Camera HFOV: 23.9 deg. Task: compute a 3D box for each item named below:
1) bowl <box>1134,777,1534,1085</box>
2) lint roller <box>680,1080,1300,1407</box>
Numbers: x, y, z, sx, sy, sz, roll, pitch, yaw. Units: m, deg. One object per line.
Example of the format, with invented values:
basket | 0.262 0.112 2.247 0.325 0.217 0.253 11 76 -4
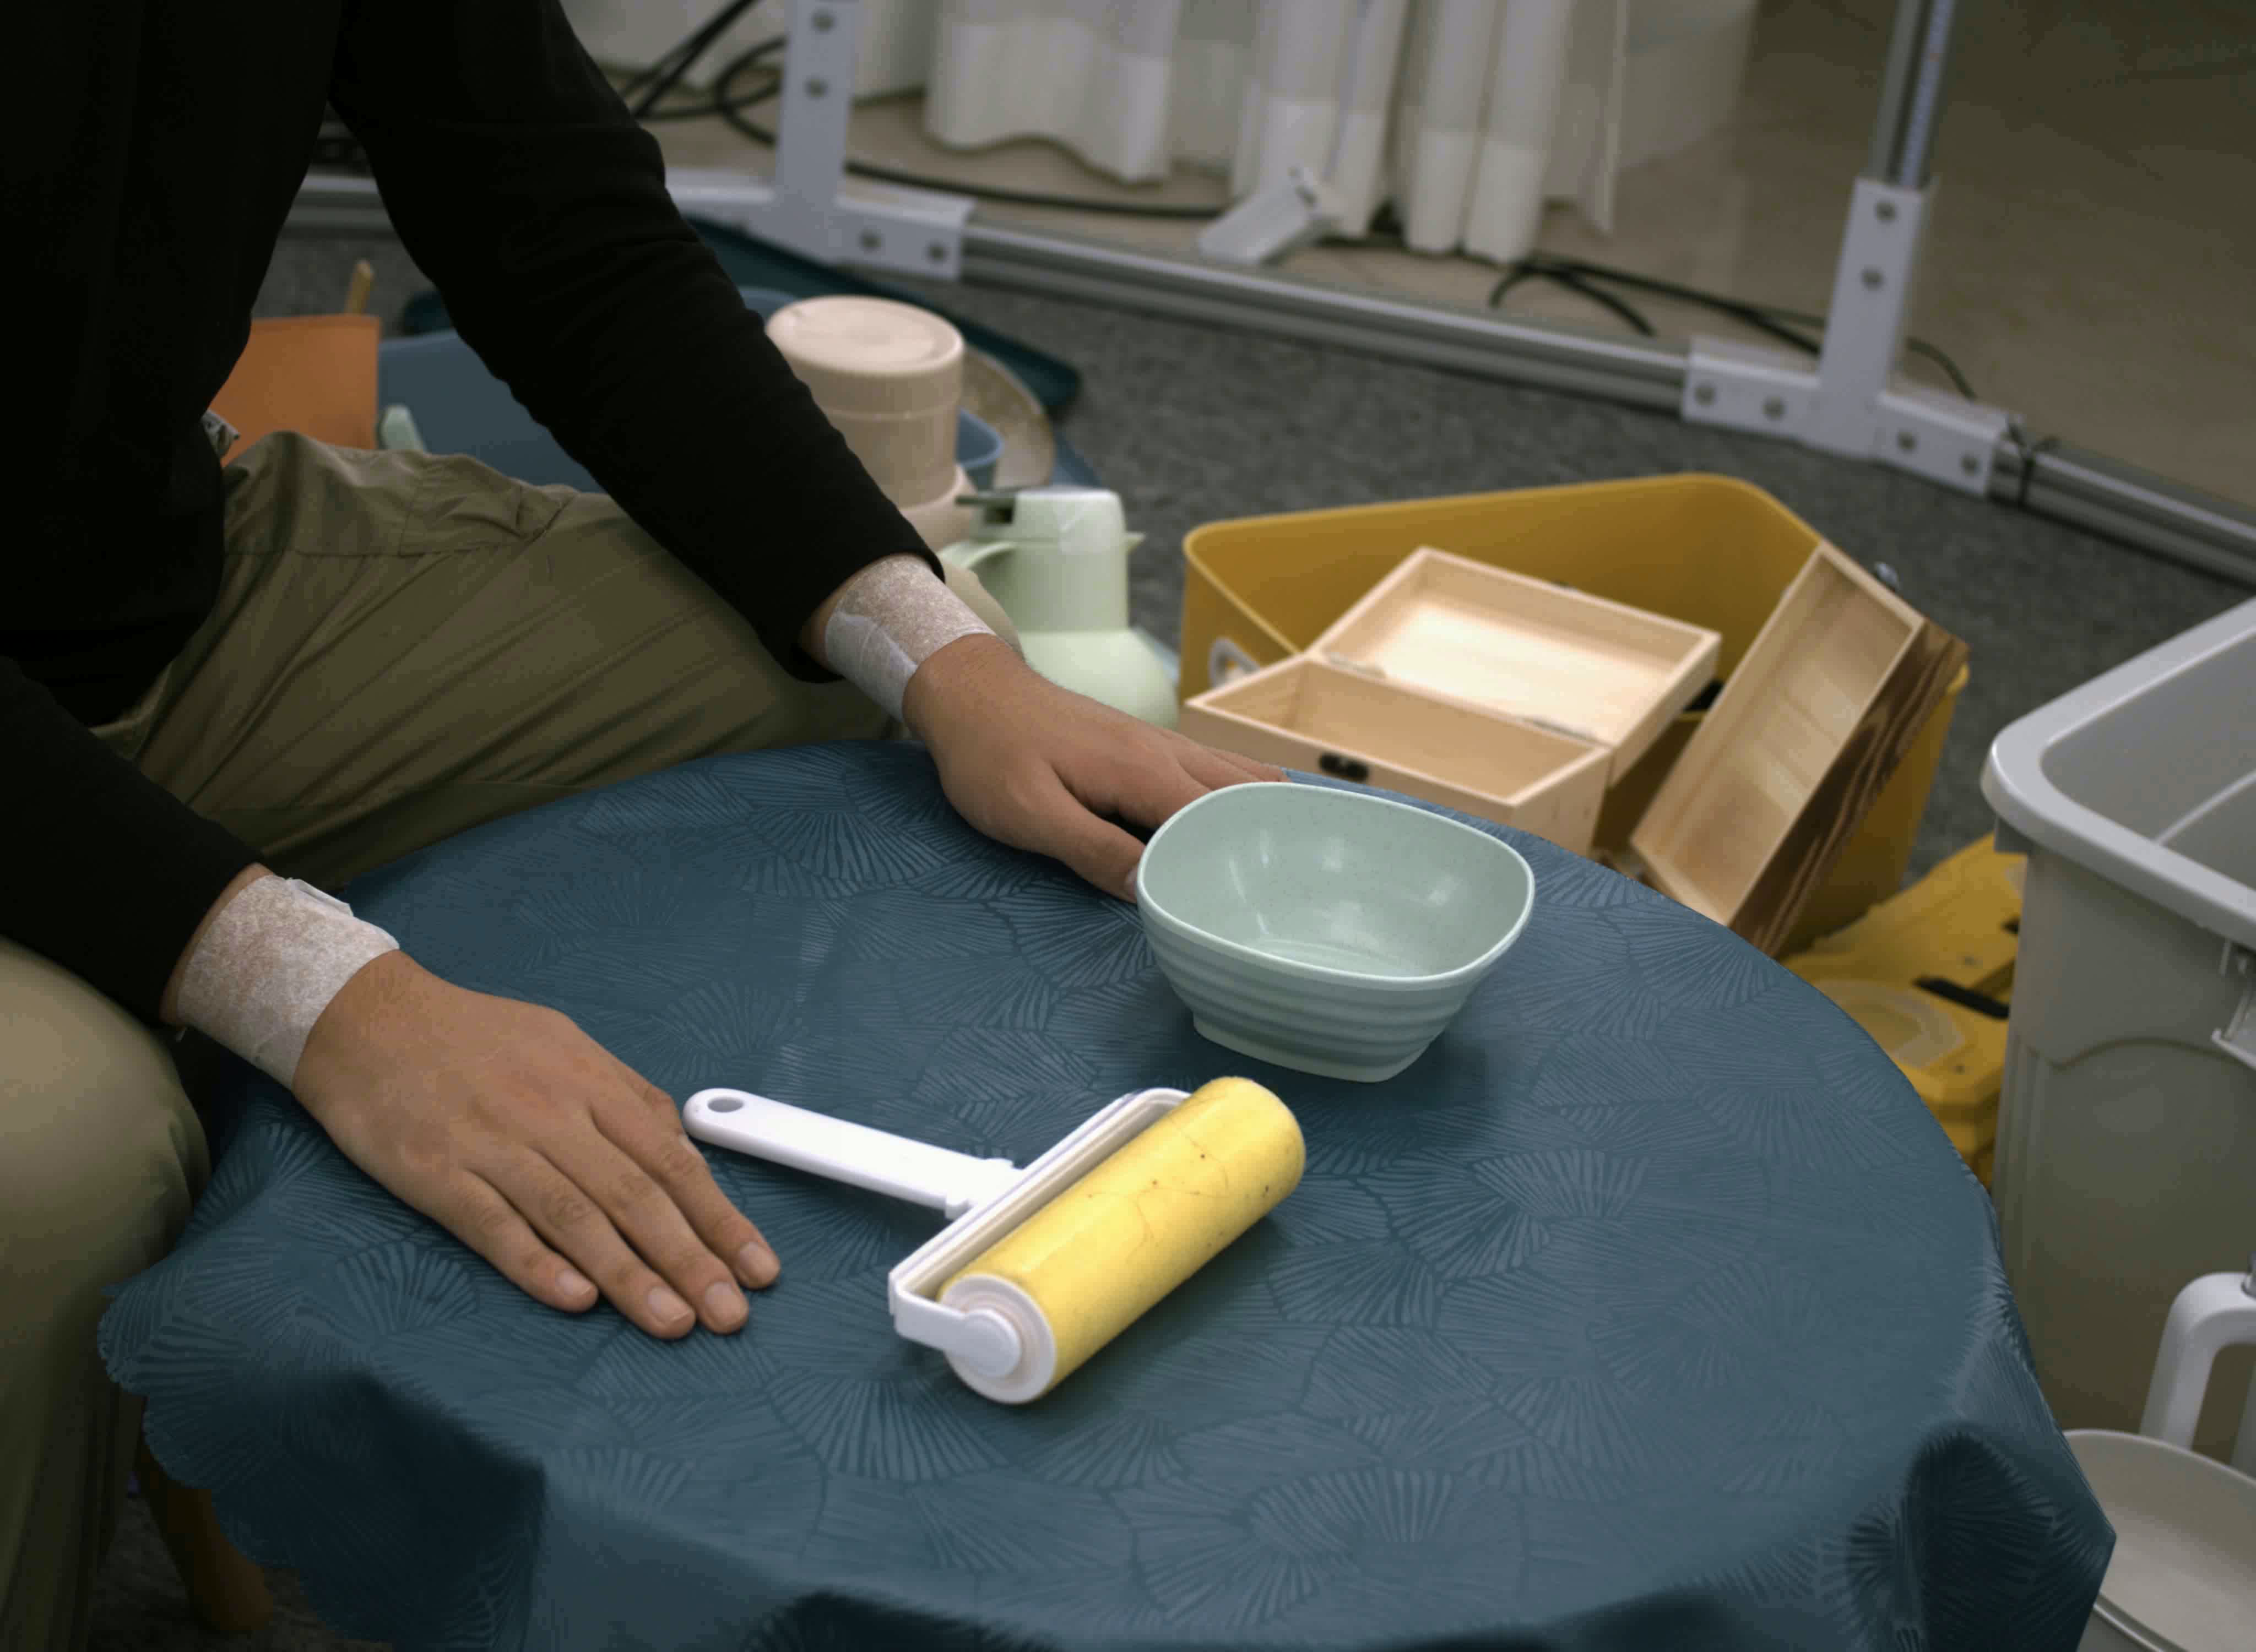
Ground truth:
bowl | 0.071 0.043 1.912 0.151 0.058 0.152 6 28 -4
lint roller | -0.063 0.110 1.757 0.193 0.051 0.174 23 31 21
